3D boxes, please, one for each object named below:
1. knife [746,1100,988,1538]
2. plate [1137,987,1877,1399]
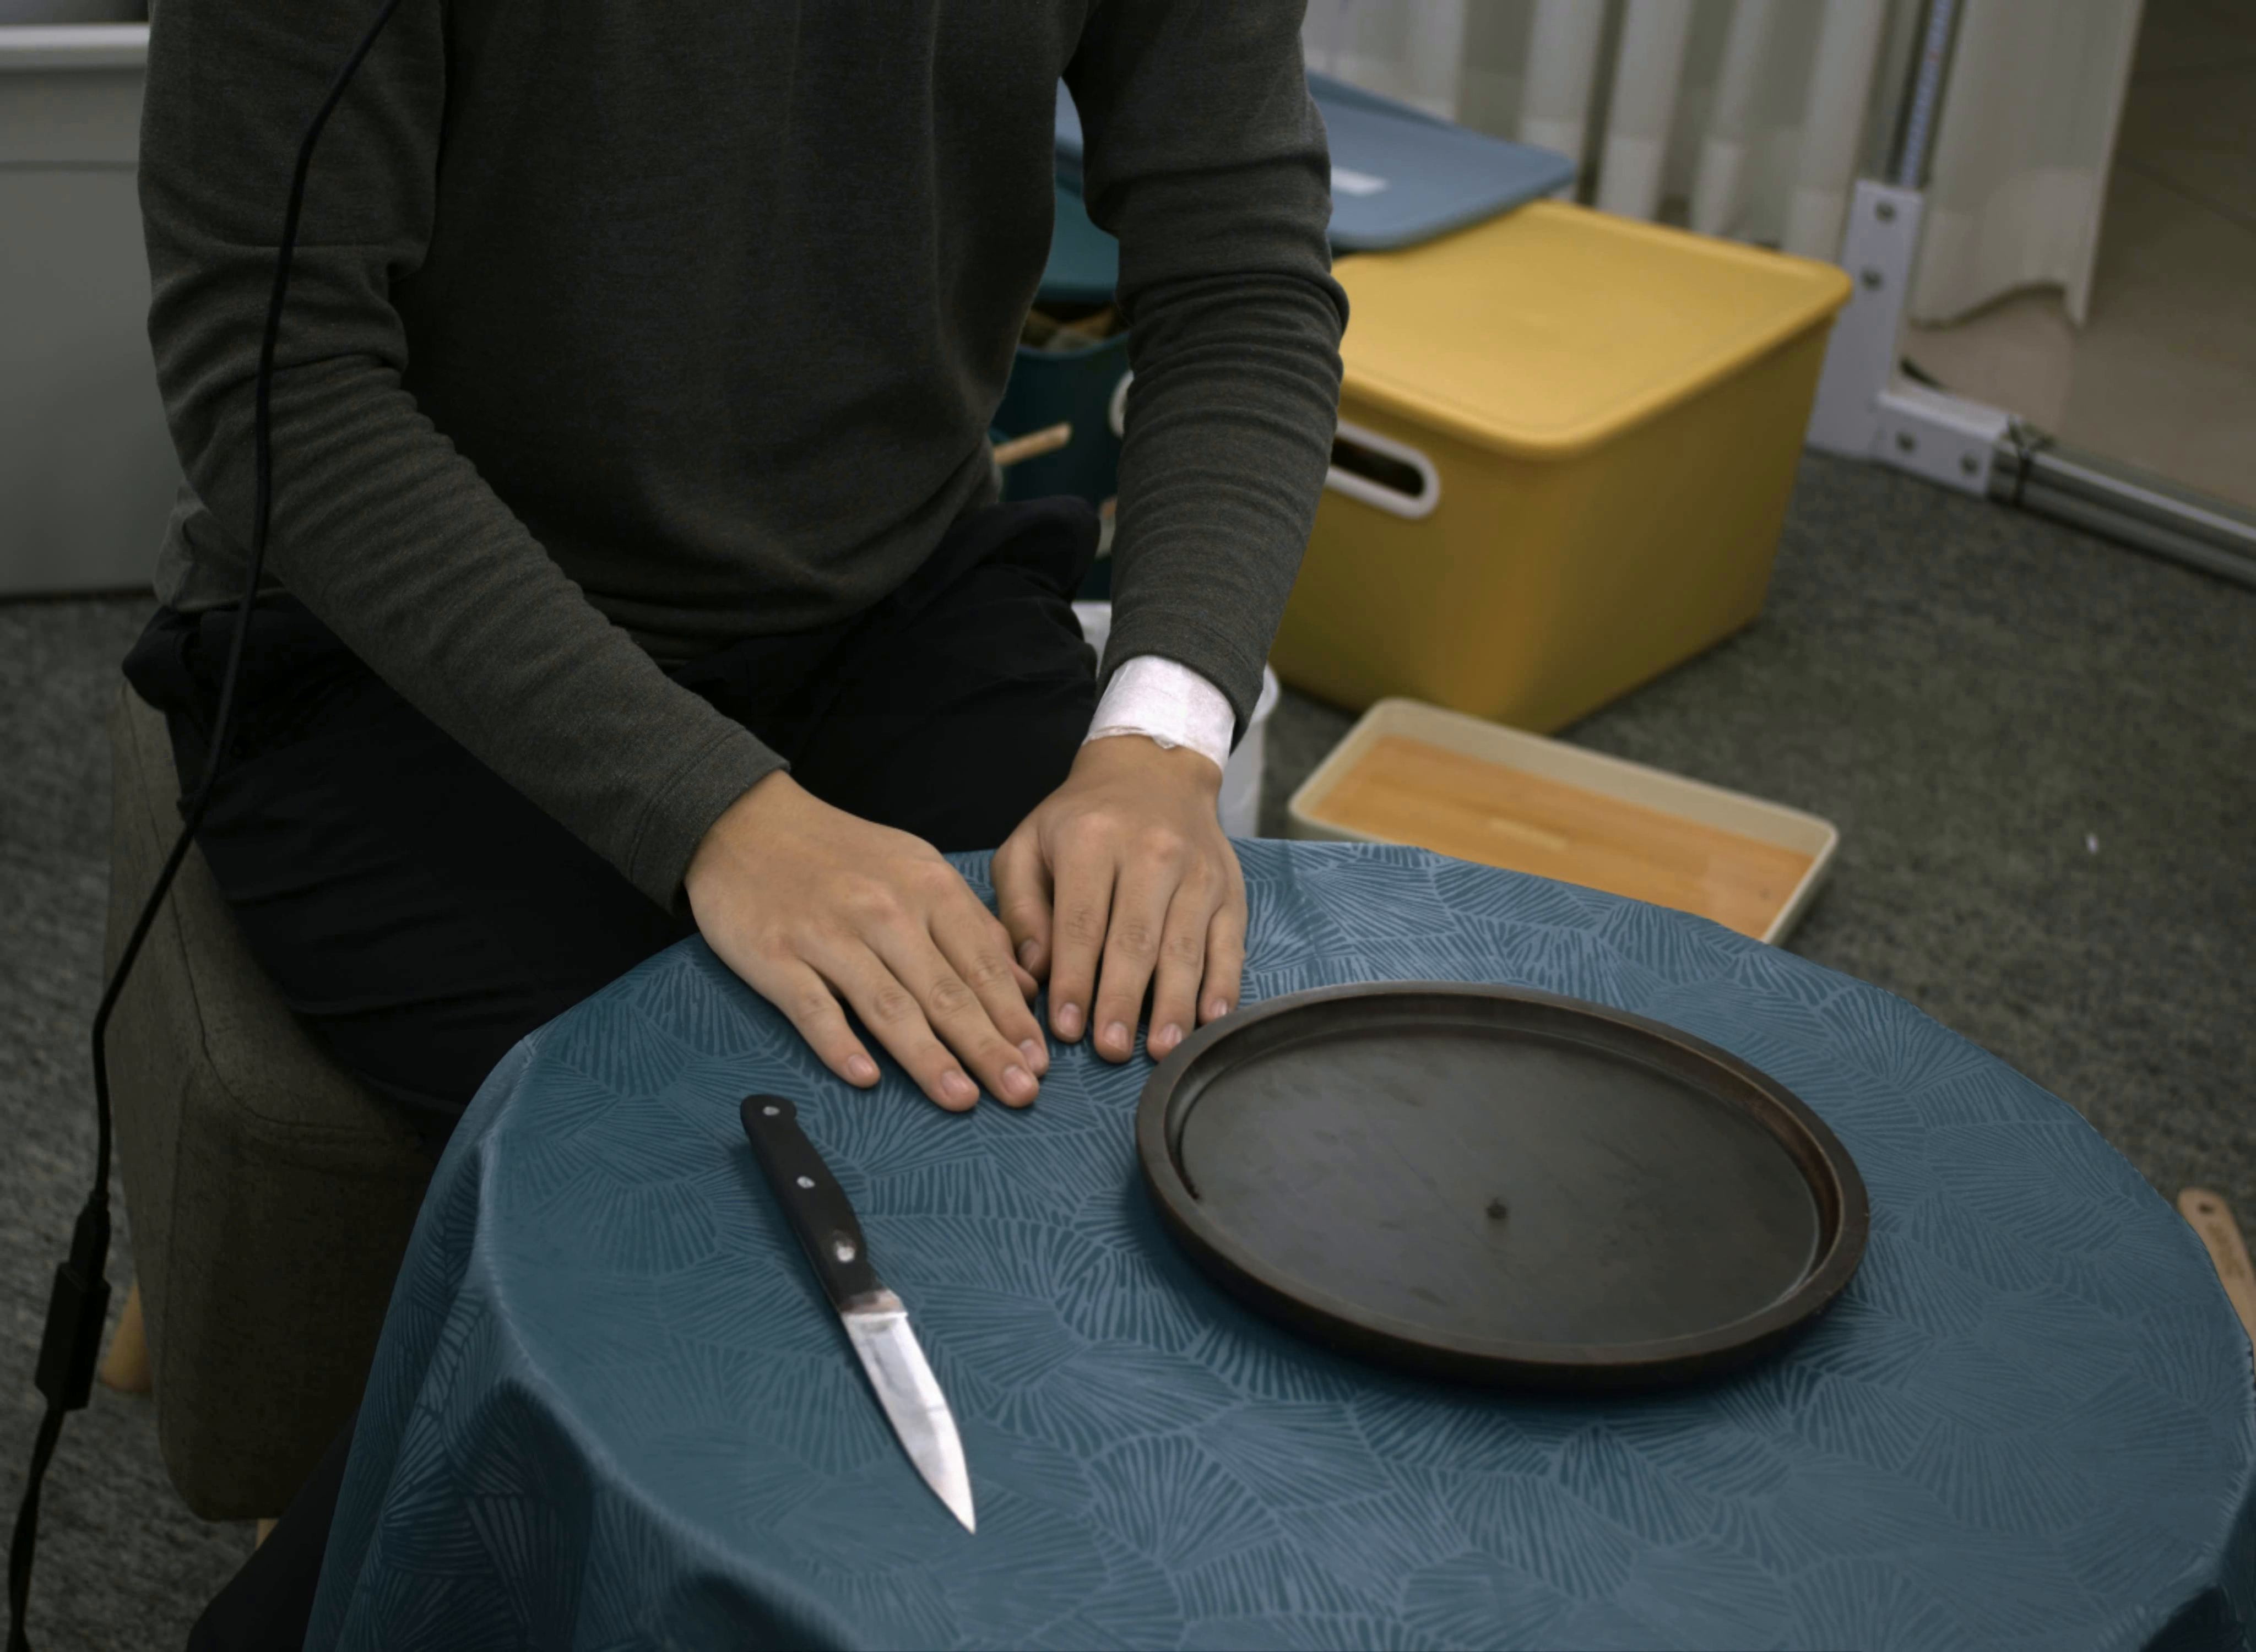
[{"bbox_3d":[-0.085,0.157,1.709,0.024,0.016,0.240,0,30,-22],"label":"knife"},{"bbox_3d":[0.127,0.122,1.812,0.254,0.029,0.256,6,27,-3],"label":"plate"}]
